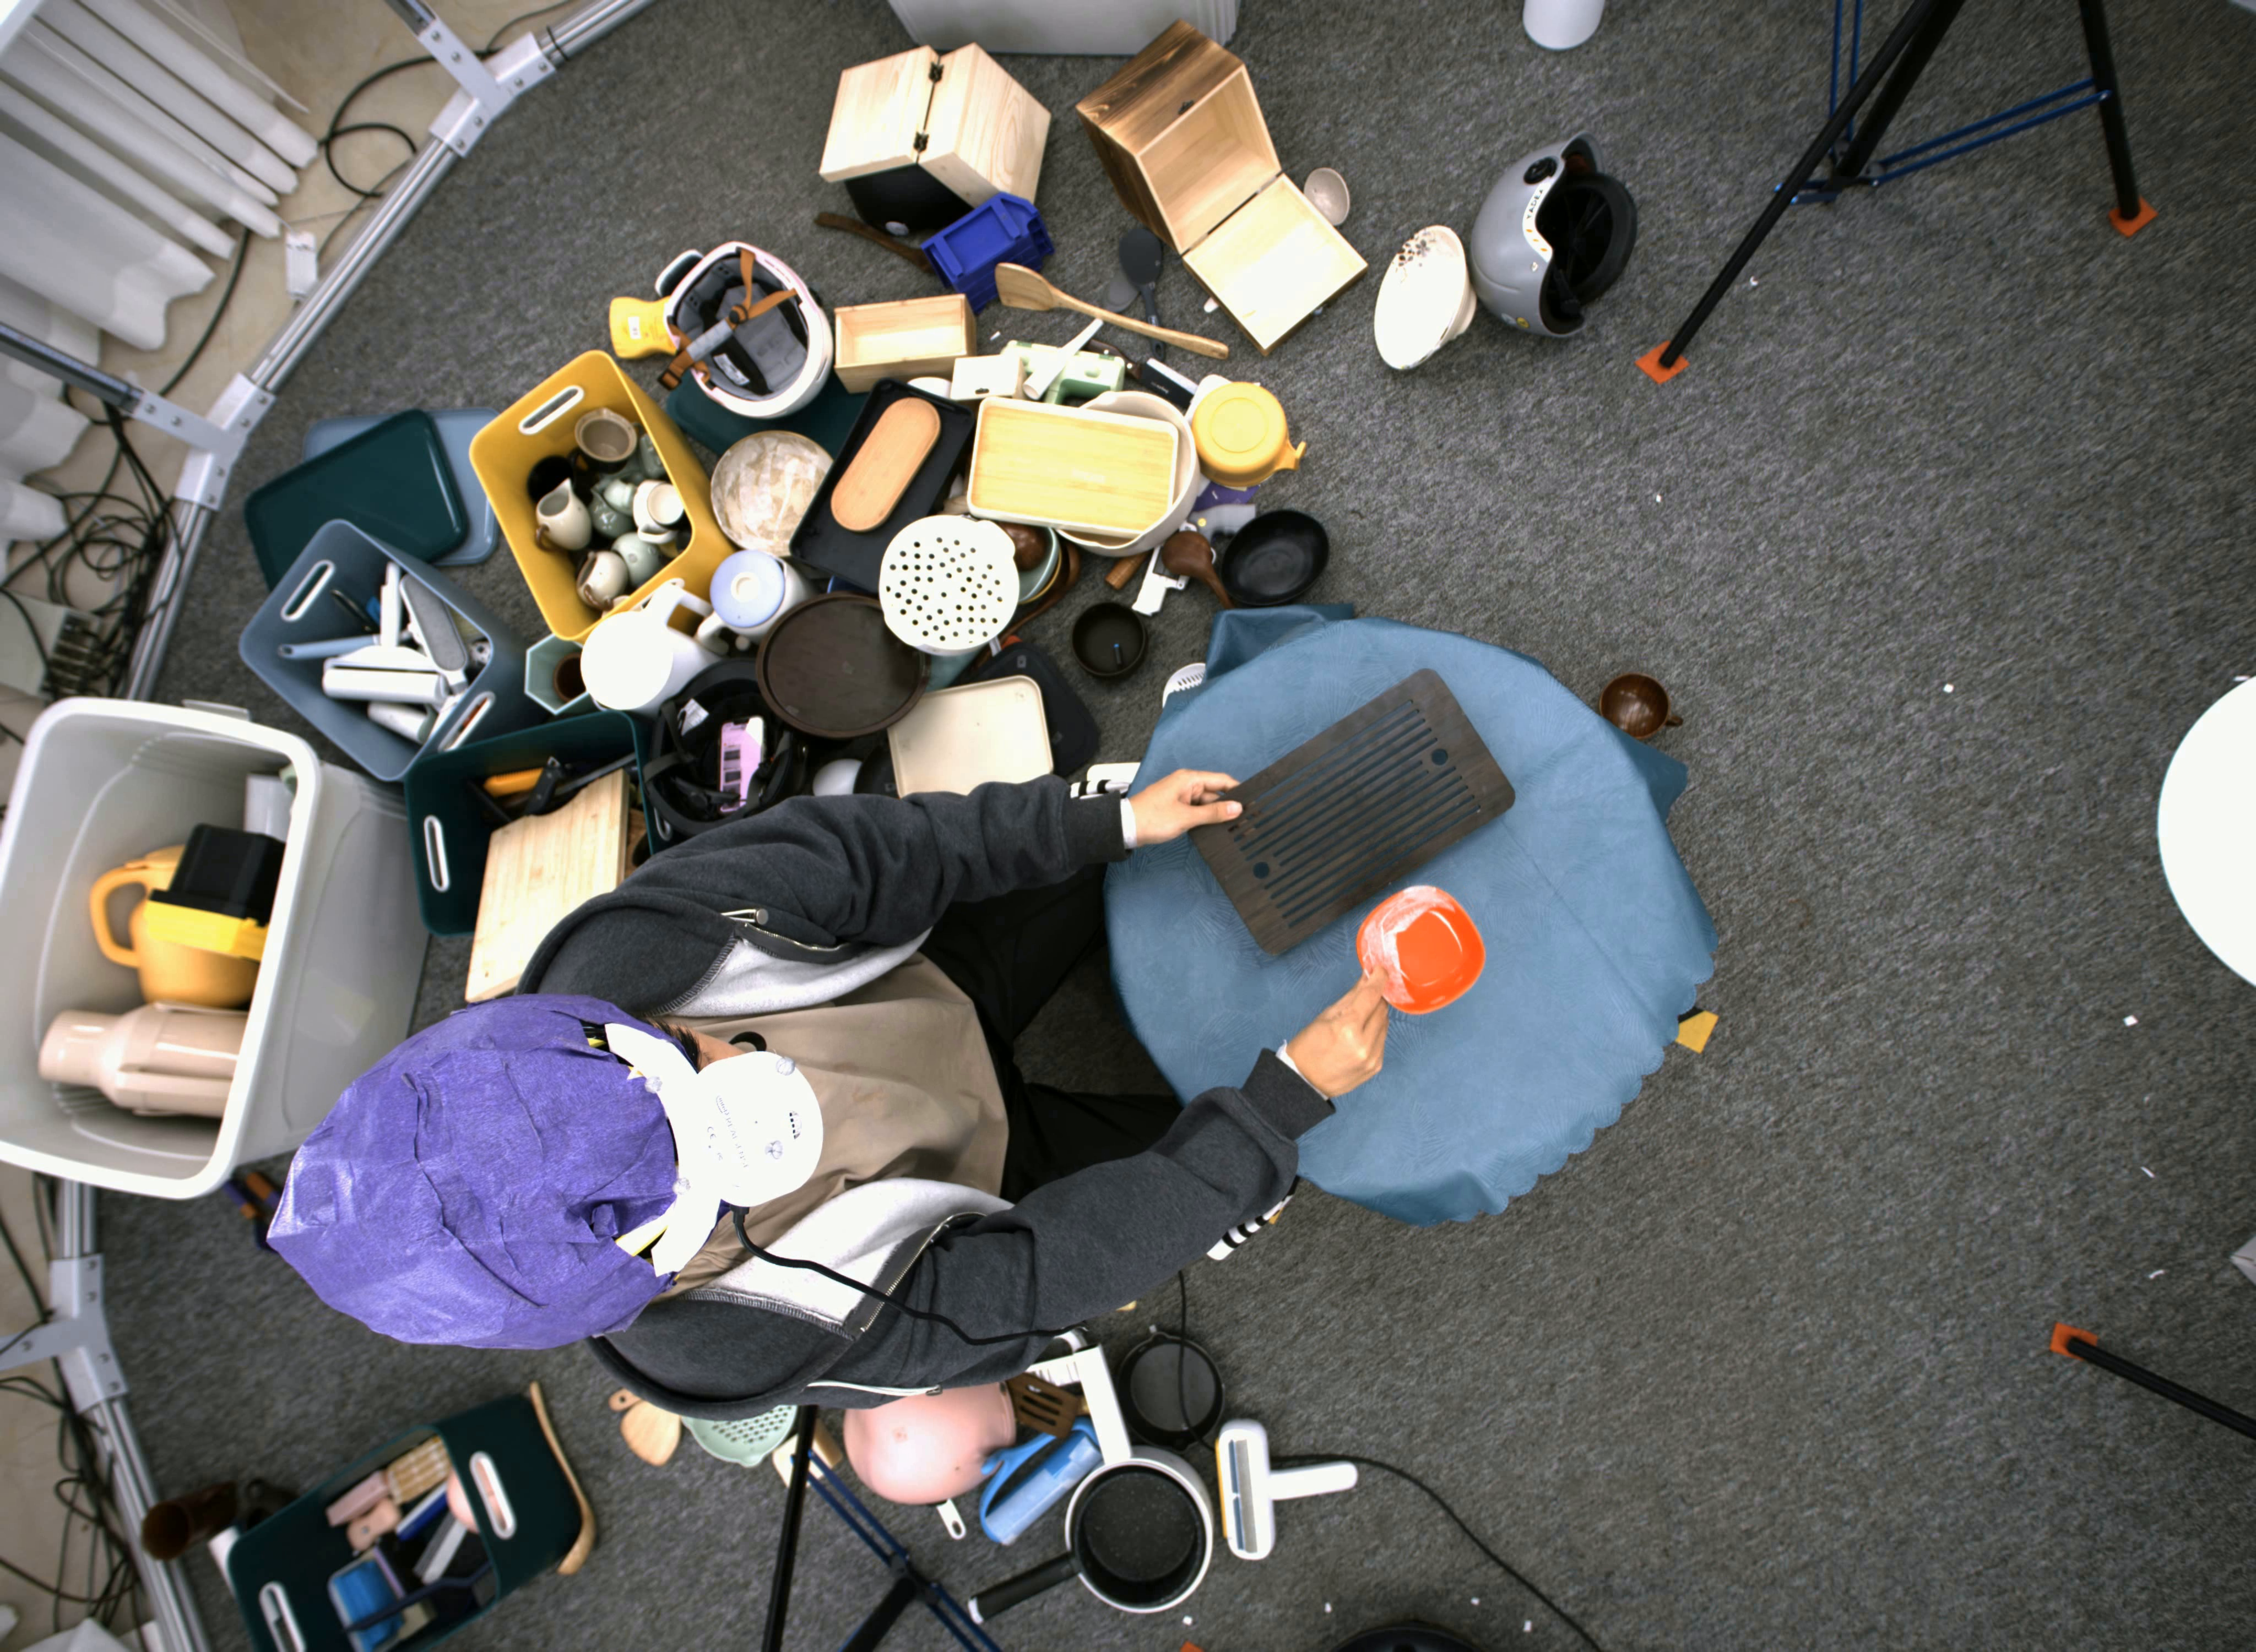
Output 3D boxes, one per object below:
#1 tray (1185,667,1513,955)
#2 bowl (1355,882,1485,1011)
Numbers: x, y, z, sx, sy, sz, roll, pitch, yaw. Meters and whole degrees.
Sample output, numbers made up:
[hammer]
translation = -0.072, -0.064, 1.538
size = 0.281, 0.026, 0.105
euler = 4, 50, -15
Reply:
[tray]
translation = 0.225, -0.016, 1.415
size = 0.307, 0.018, 0.170
euler = -33, 88, 5
[bowl]
translation = 0.274, 0.111, 1.286
size = 0.119, 0.051, 0.119
euler = -1, 89, 20
